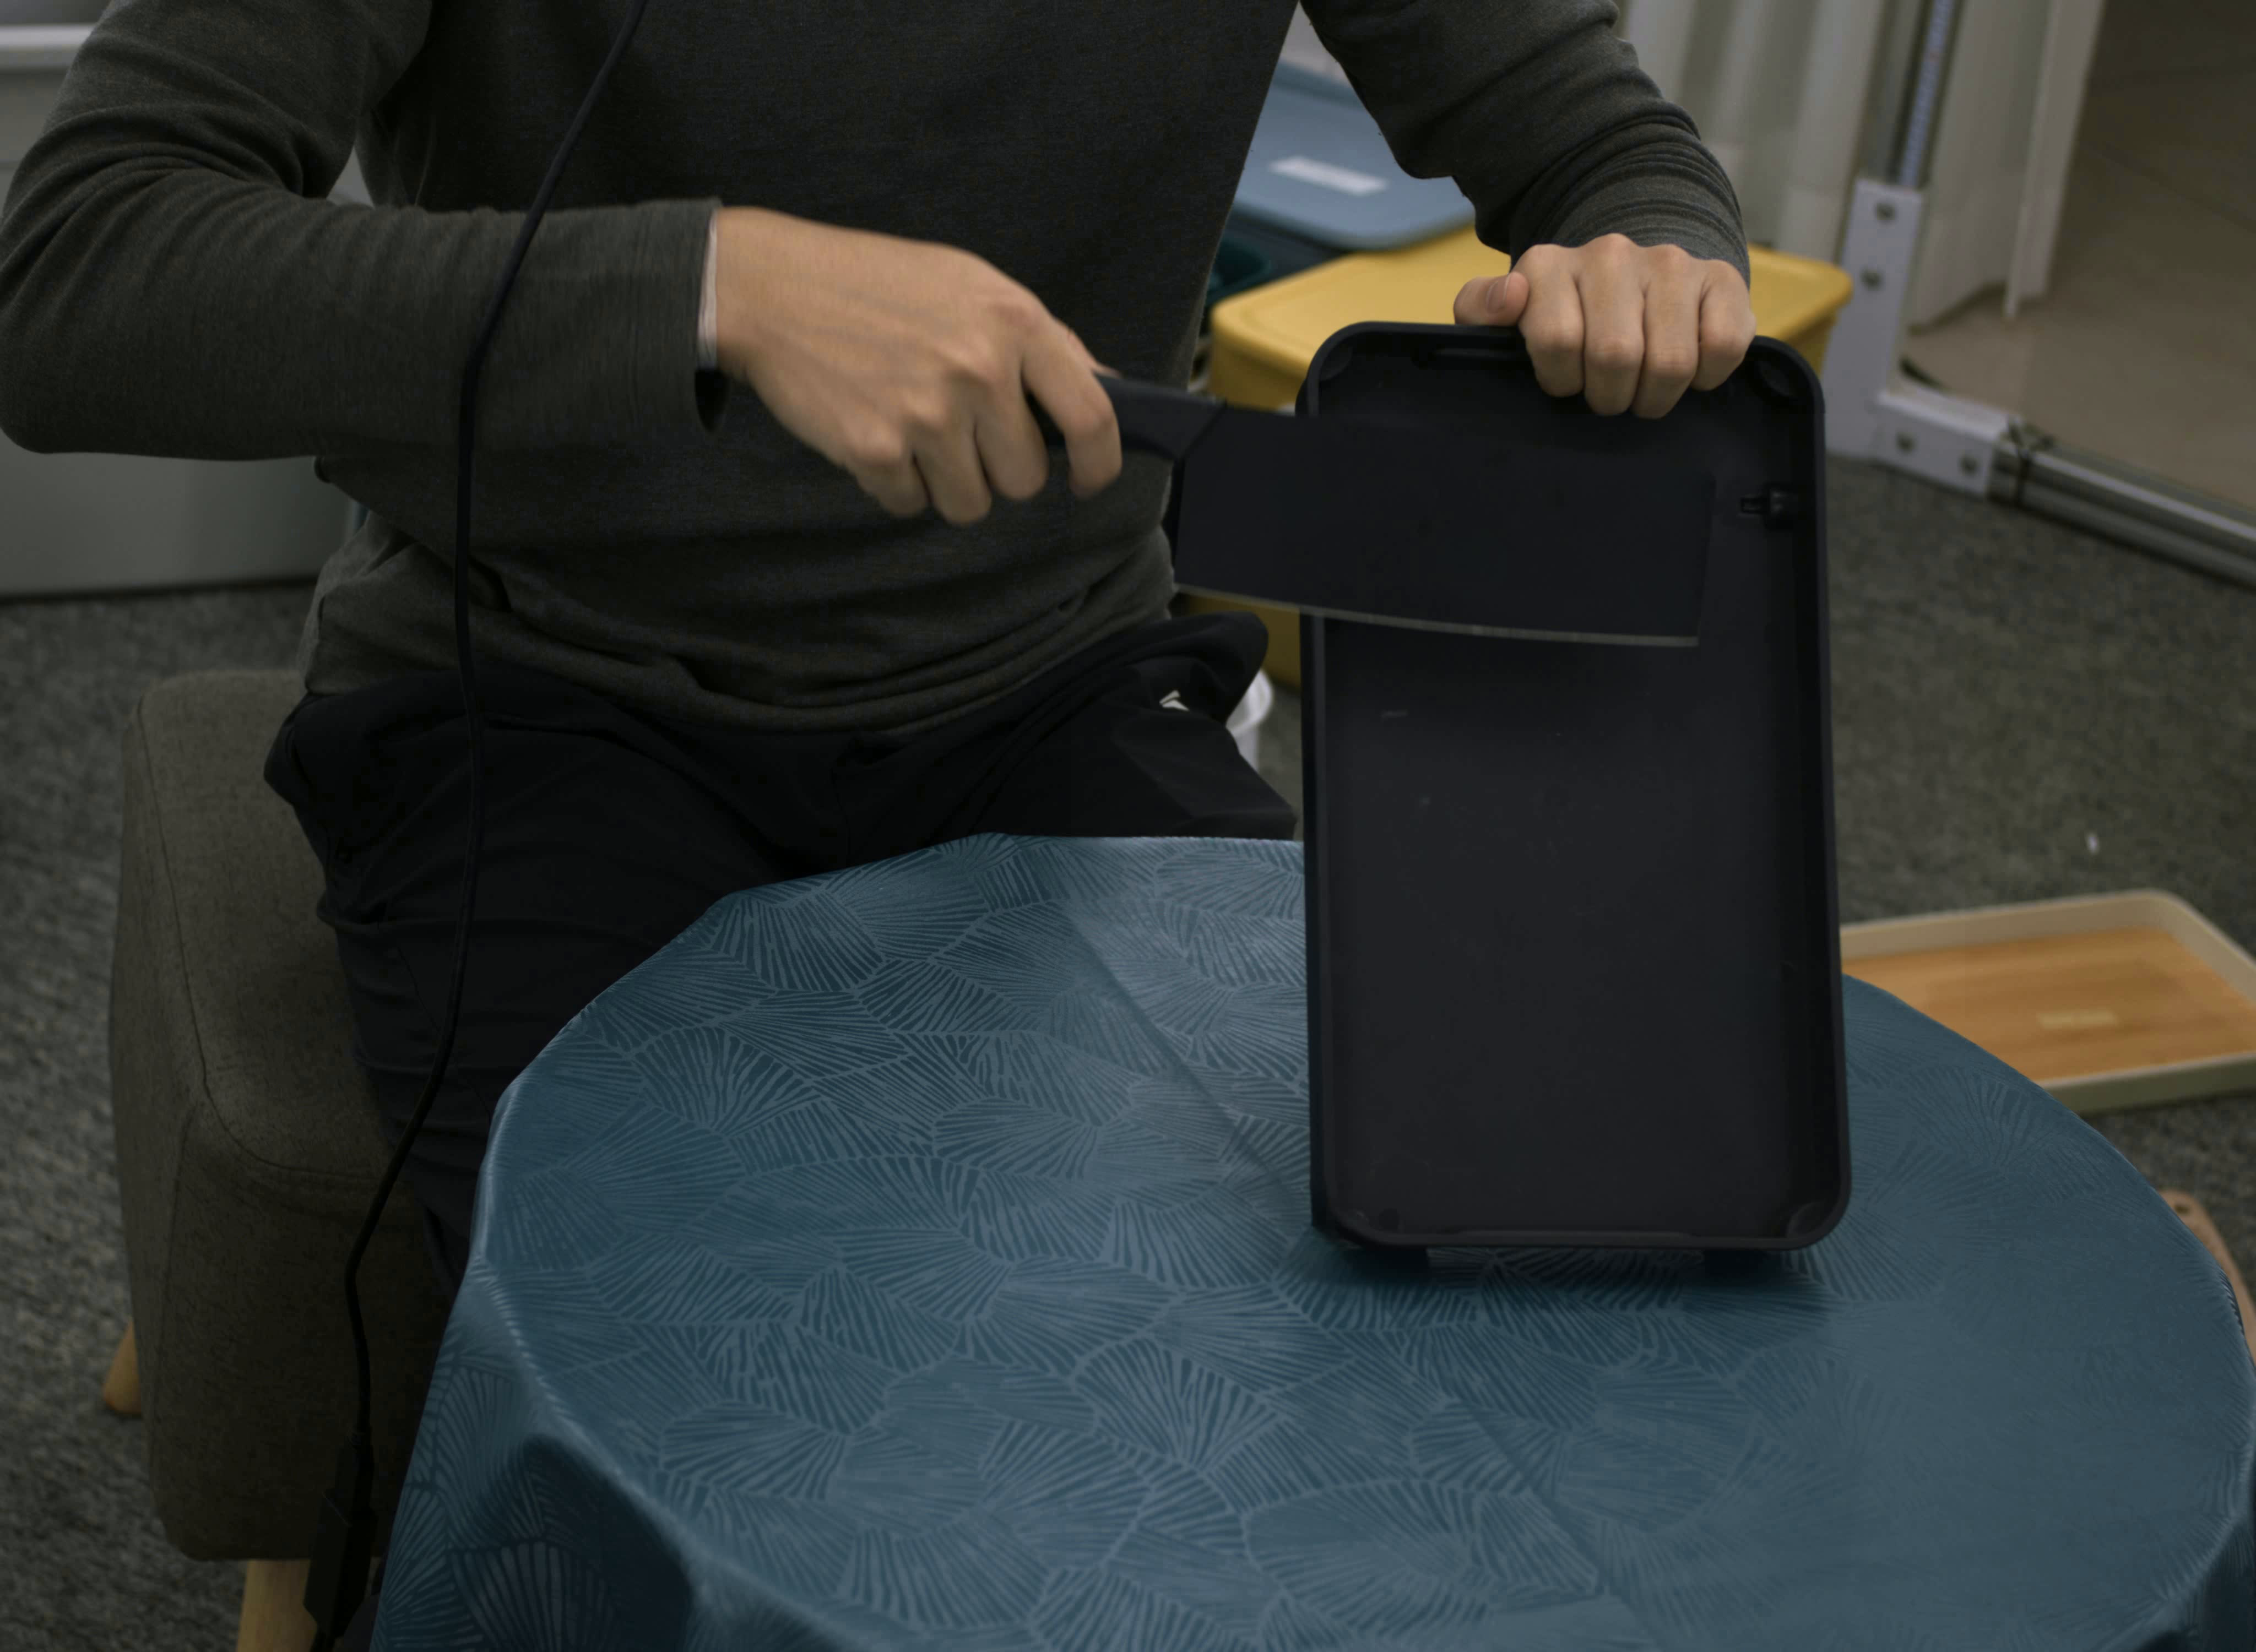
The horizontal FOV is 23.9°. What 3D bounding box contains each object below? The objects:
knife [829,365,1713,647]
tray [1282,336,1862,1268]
[{"bbox_3d":[0.049,-0.110,1.799,0.301,0.081,0.021,12,-10,-1],"label":"knife"},{"bbox_3d":[0.148,-0.008,1.813,0.183,0.319,0.037,-1,-11,-11],"label":"tray"}]
